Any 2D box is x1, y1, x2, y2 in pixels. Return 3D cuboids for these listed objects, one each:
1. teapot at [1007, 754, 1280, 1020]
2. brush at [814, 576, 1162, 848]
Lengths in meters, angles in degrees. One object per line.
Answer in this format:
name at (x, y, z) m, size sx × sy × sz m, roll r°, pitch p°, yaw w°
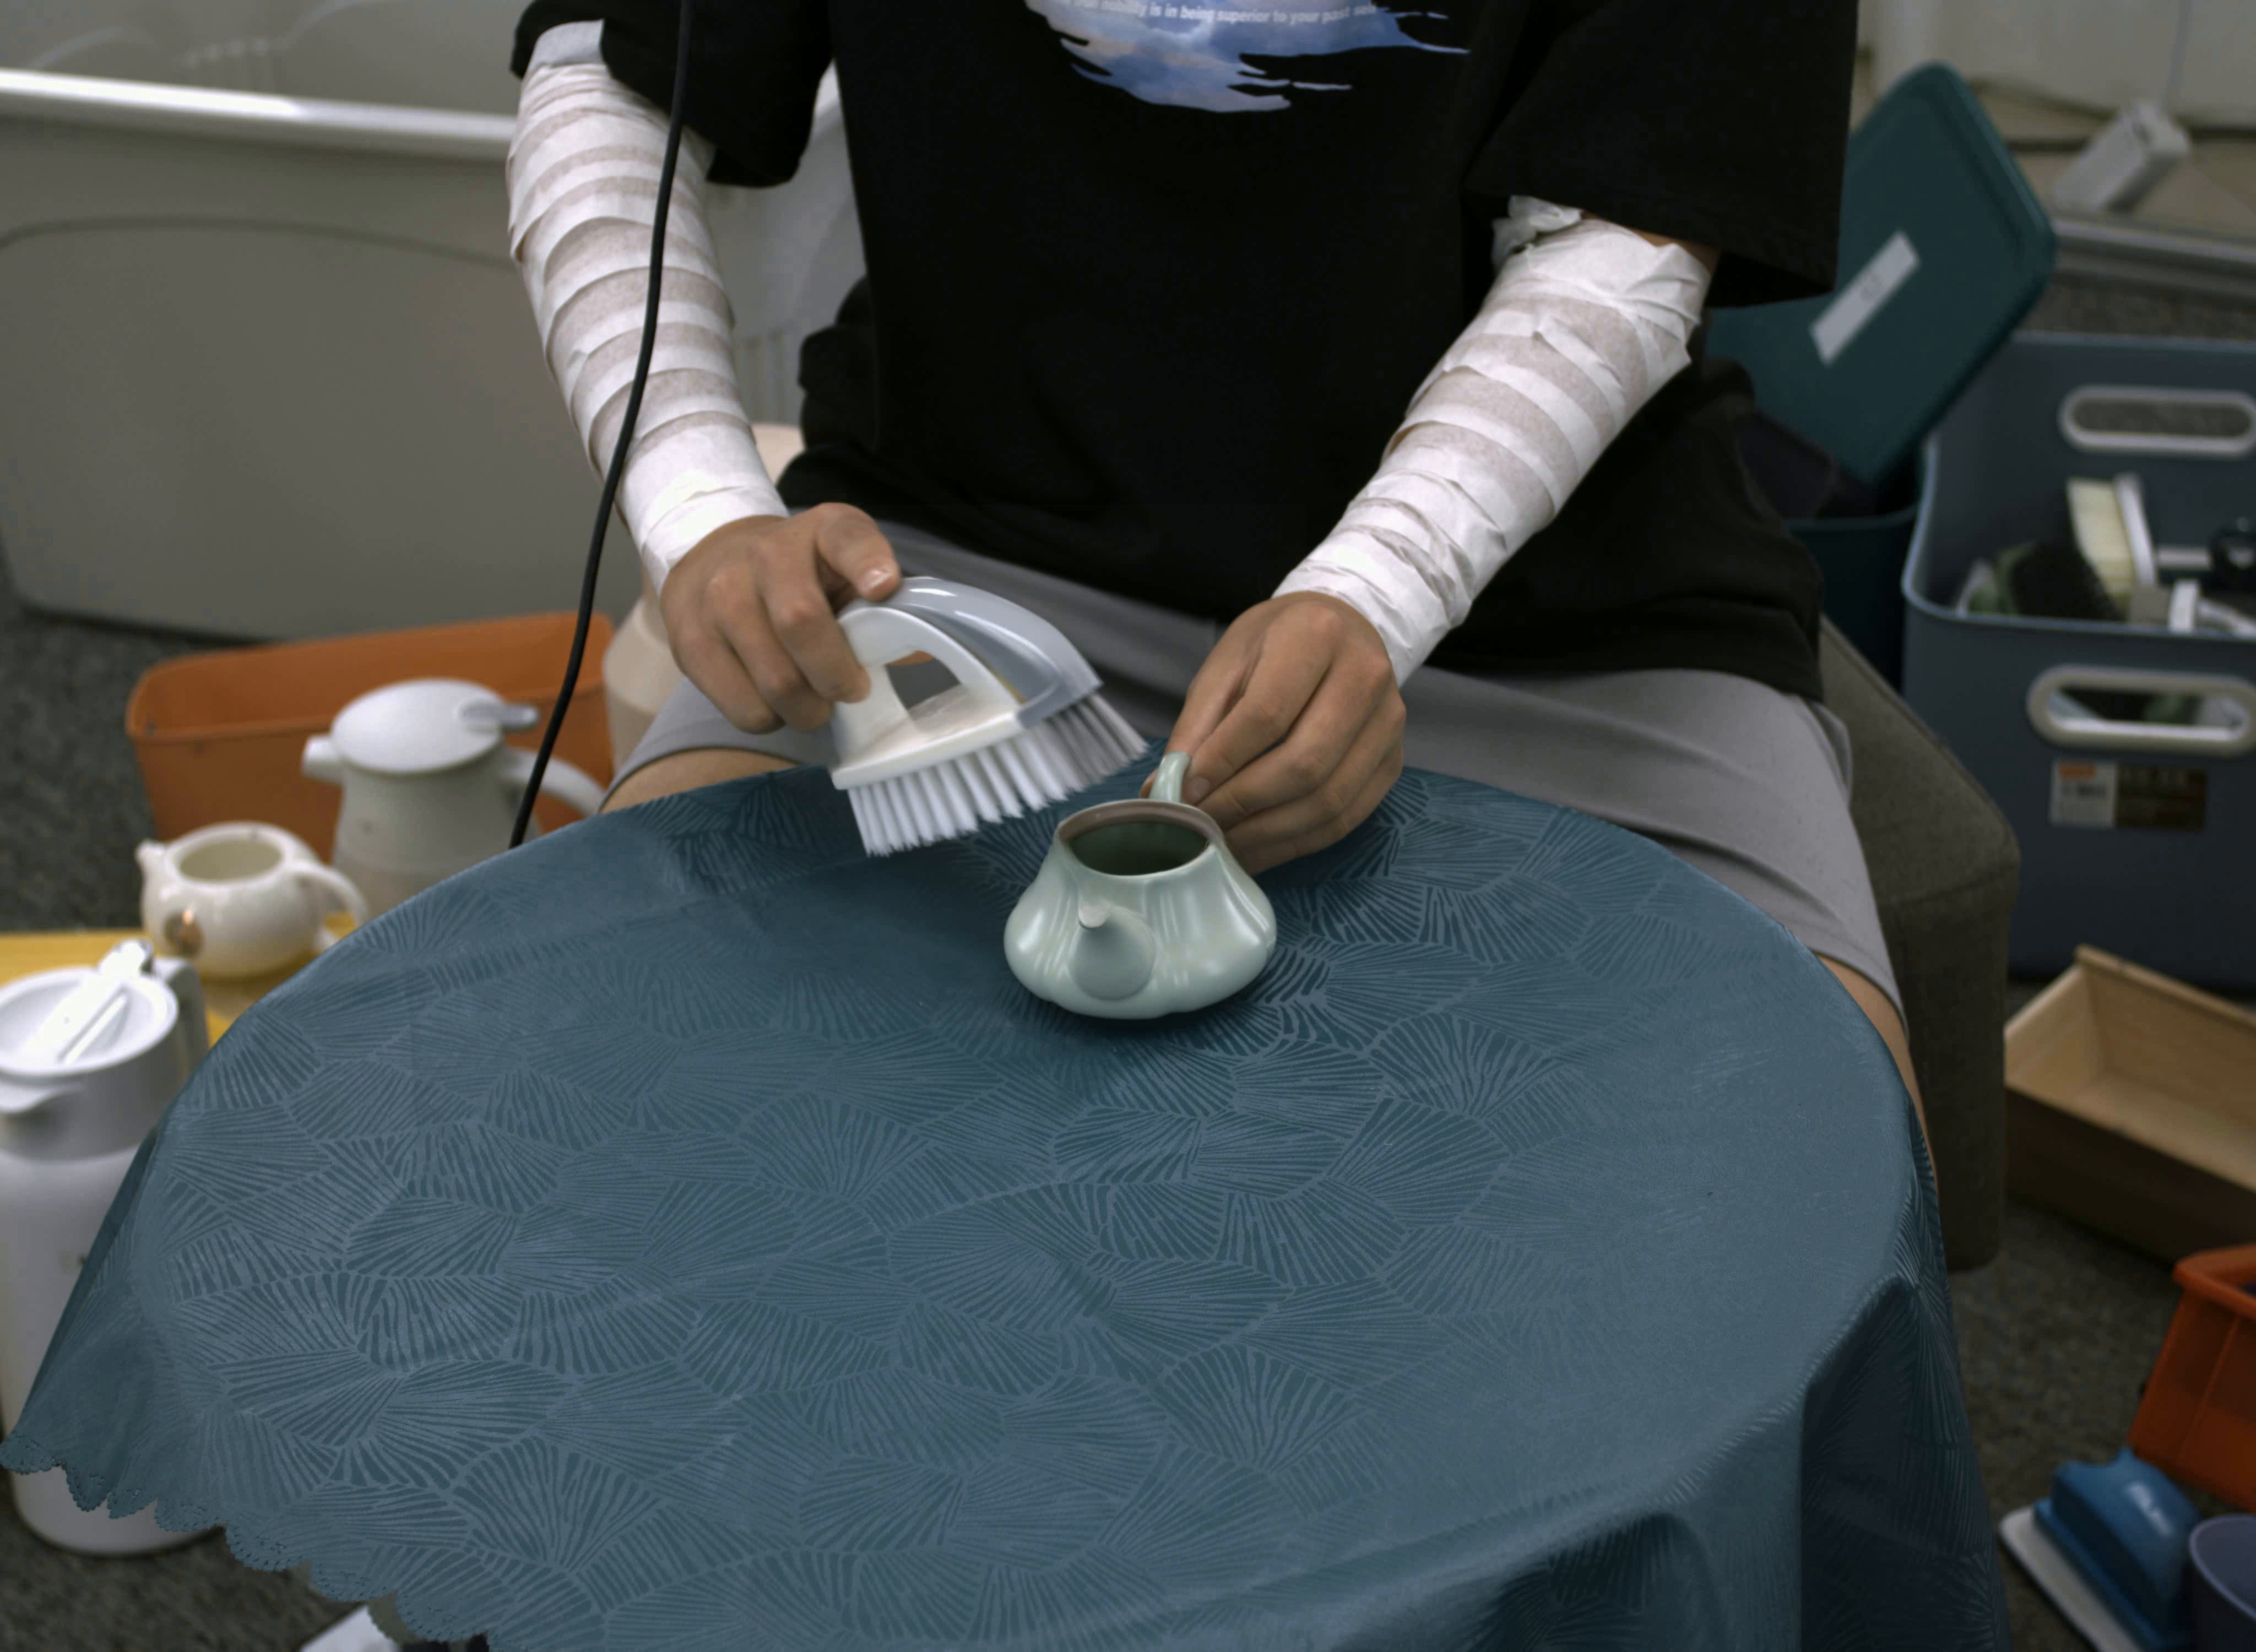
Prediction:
teapot at (0.005, 0.026, 1.981) m, size 0.095 × 0.061 × 0.139 m, roll 1°, pitch 27°, yaw 13°
brush at (-0.055, -0.049, 2.008) m, size 0.062 × 0.094 × 0.174 m, roll -40°, pitch 16°, yaw -28°
